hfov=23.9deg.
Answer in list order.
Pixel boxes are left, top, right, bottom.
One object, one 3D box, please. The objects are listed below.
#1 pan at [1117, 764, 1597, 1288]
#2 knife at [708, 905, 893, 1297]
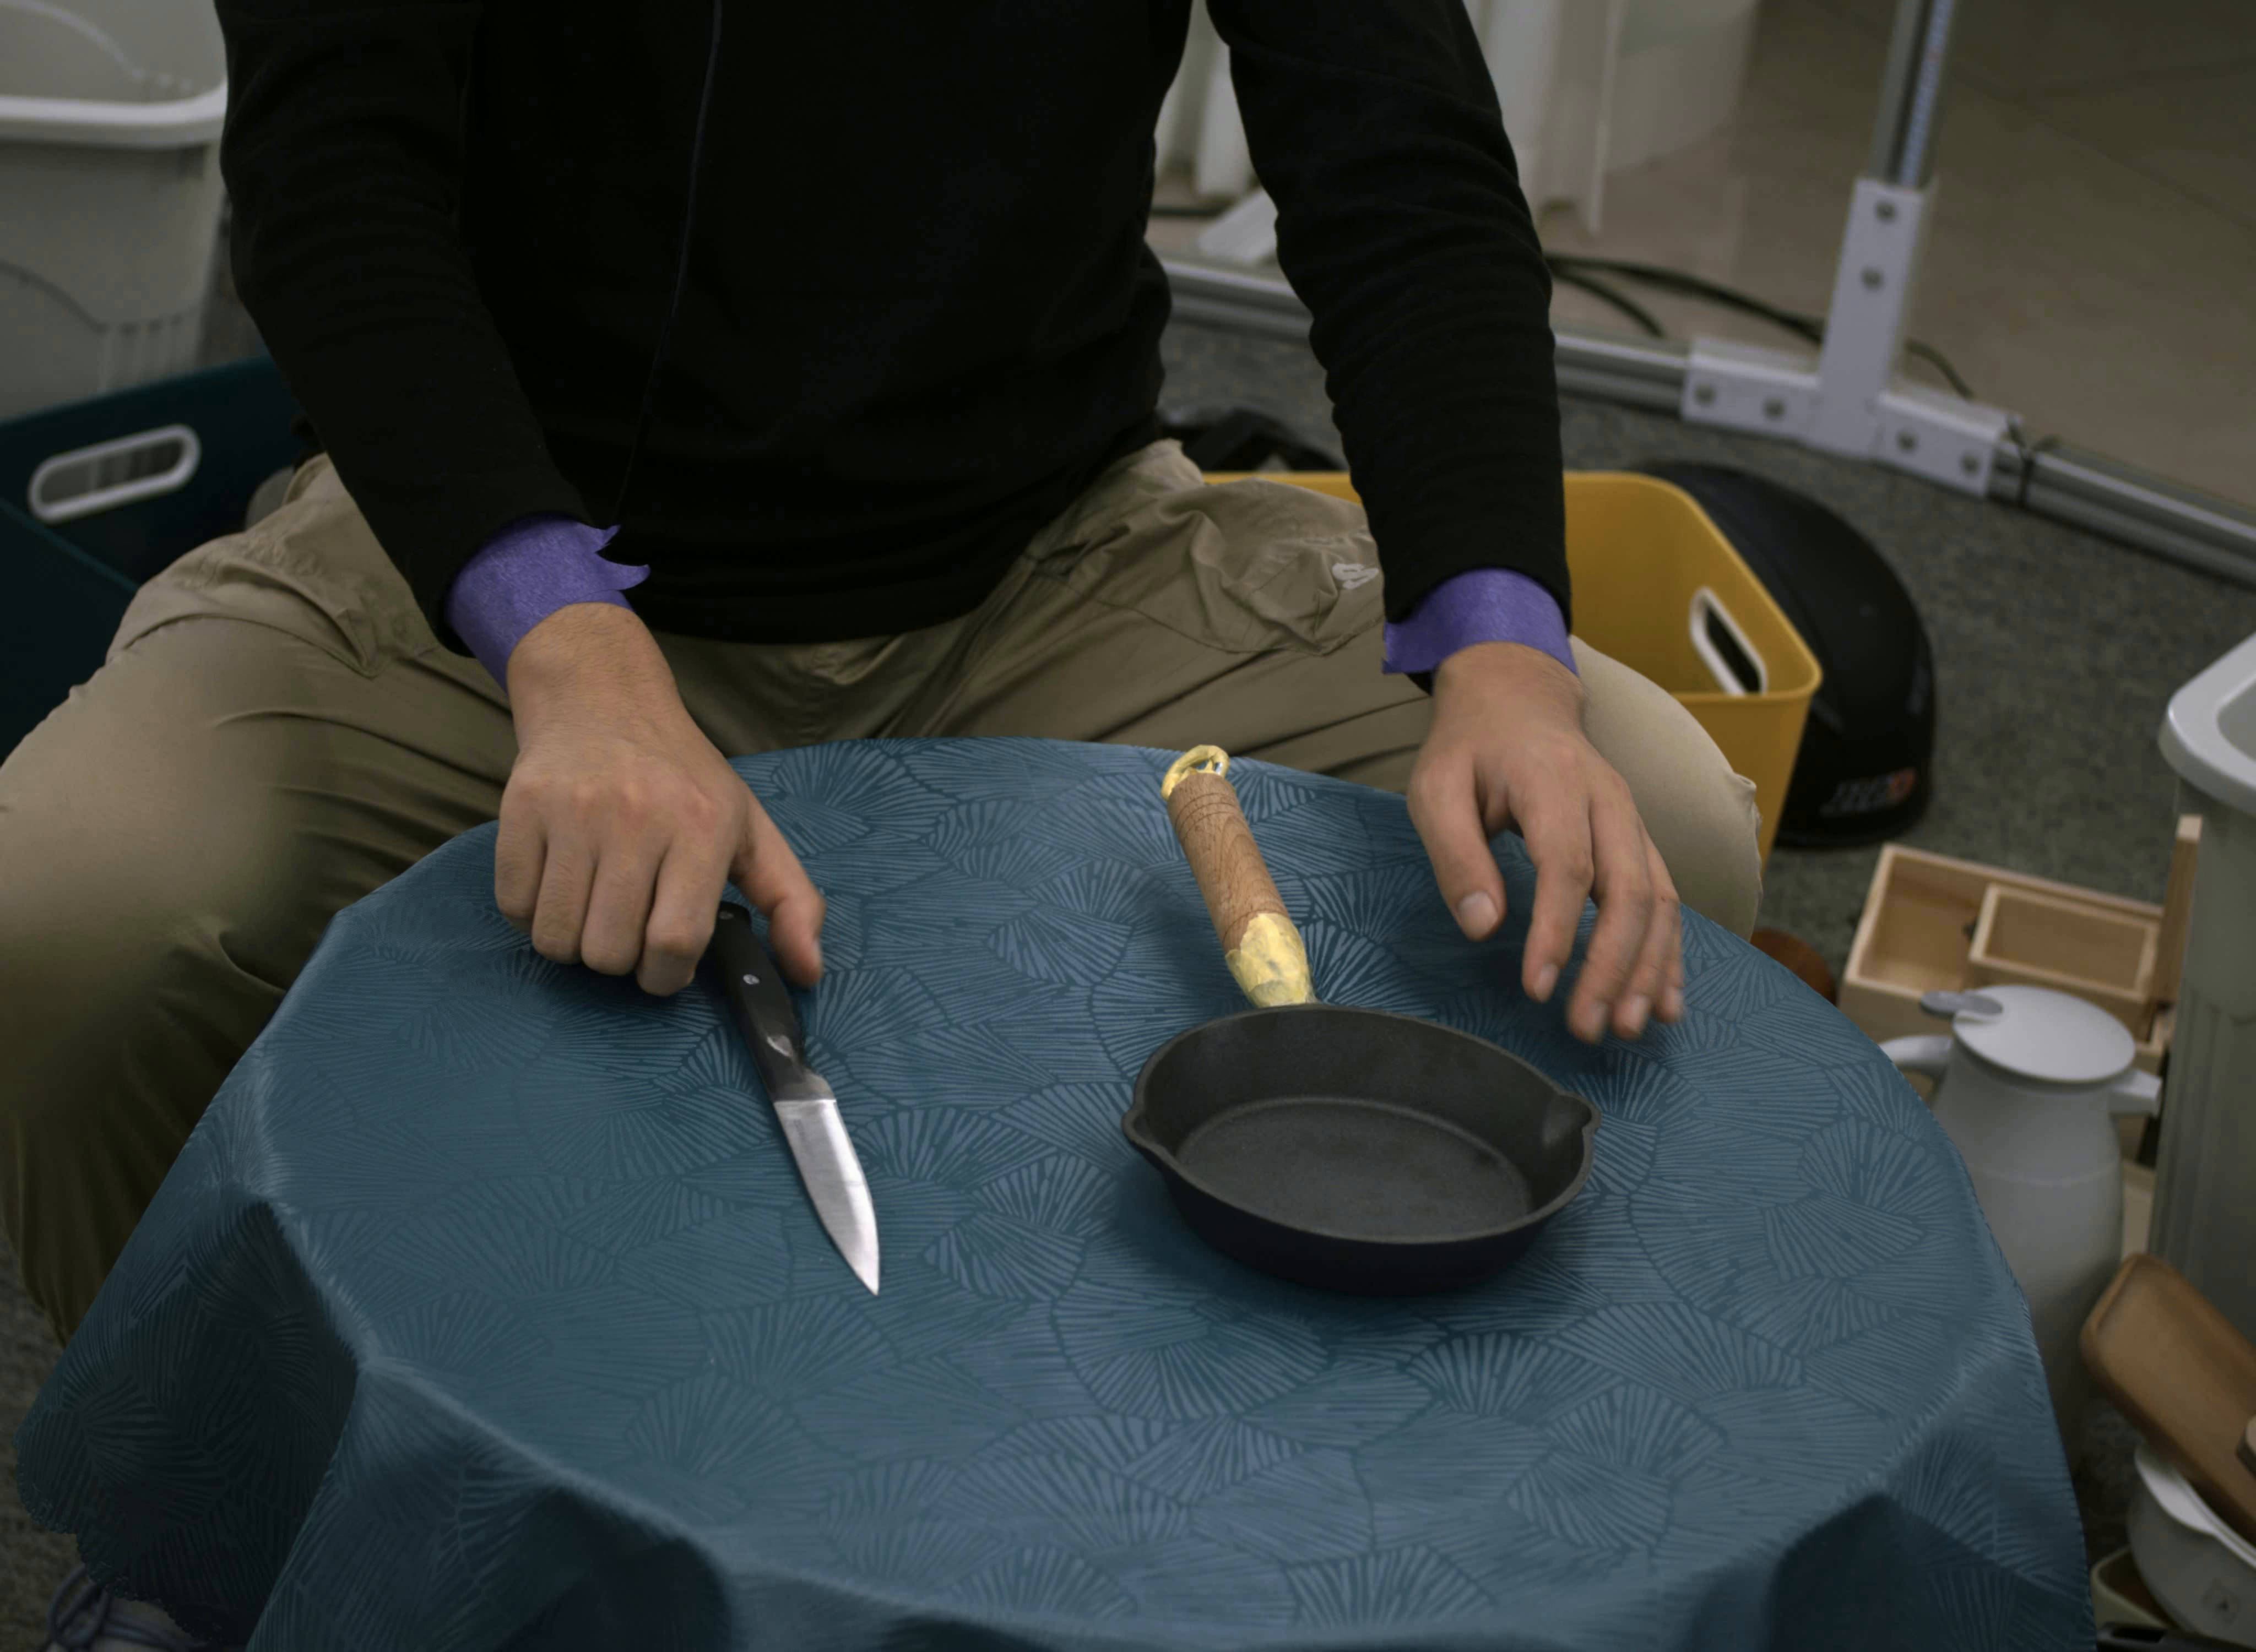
[{"bbox_3d":[0.060,0.068,1.878,0.168,0.049,0.327,0,27,-14],"label":"pan"},{"bbox_3d":[-0.113,0.093,1.828,0.024,0.016,0.240,-2,31,-17],"label":"knife"}]
